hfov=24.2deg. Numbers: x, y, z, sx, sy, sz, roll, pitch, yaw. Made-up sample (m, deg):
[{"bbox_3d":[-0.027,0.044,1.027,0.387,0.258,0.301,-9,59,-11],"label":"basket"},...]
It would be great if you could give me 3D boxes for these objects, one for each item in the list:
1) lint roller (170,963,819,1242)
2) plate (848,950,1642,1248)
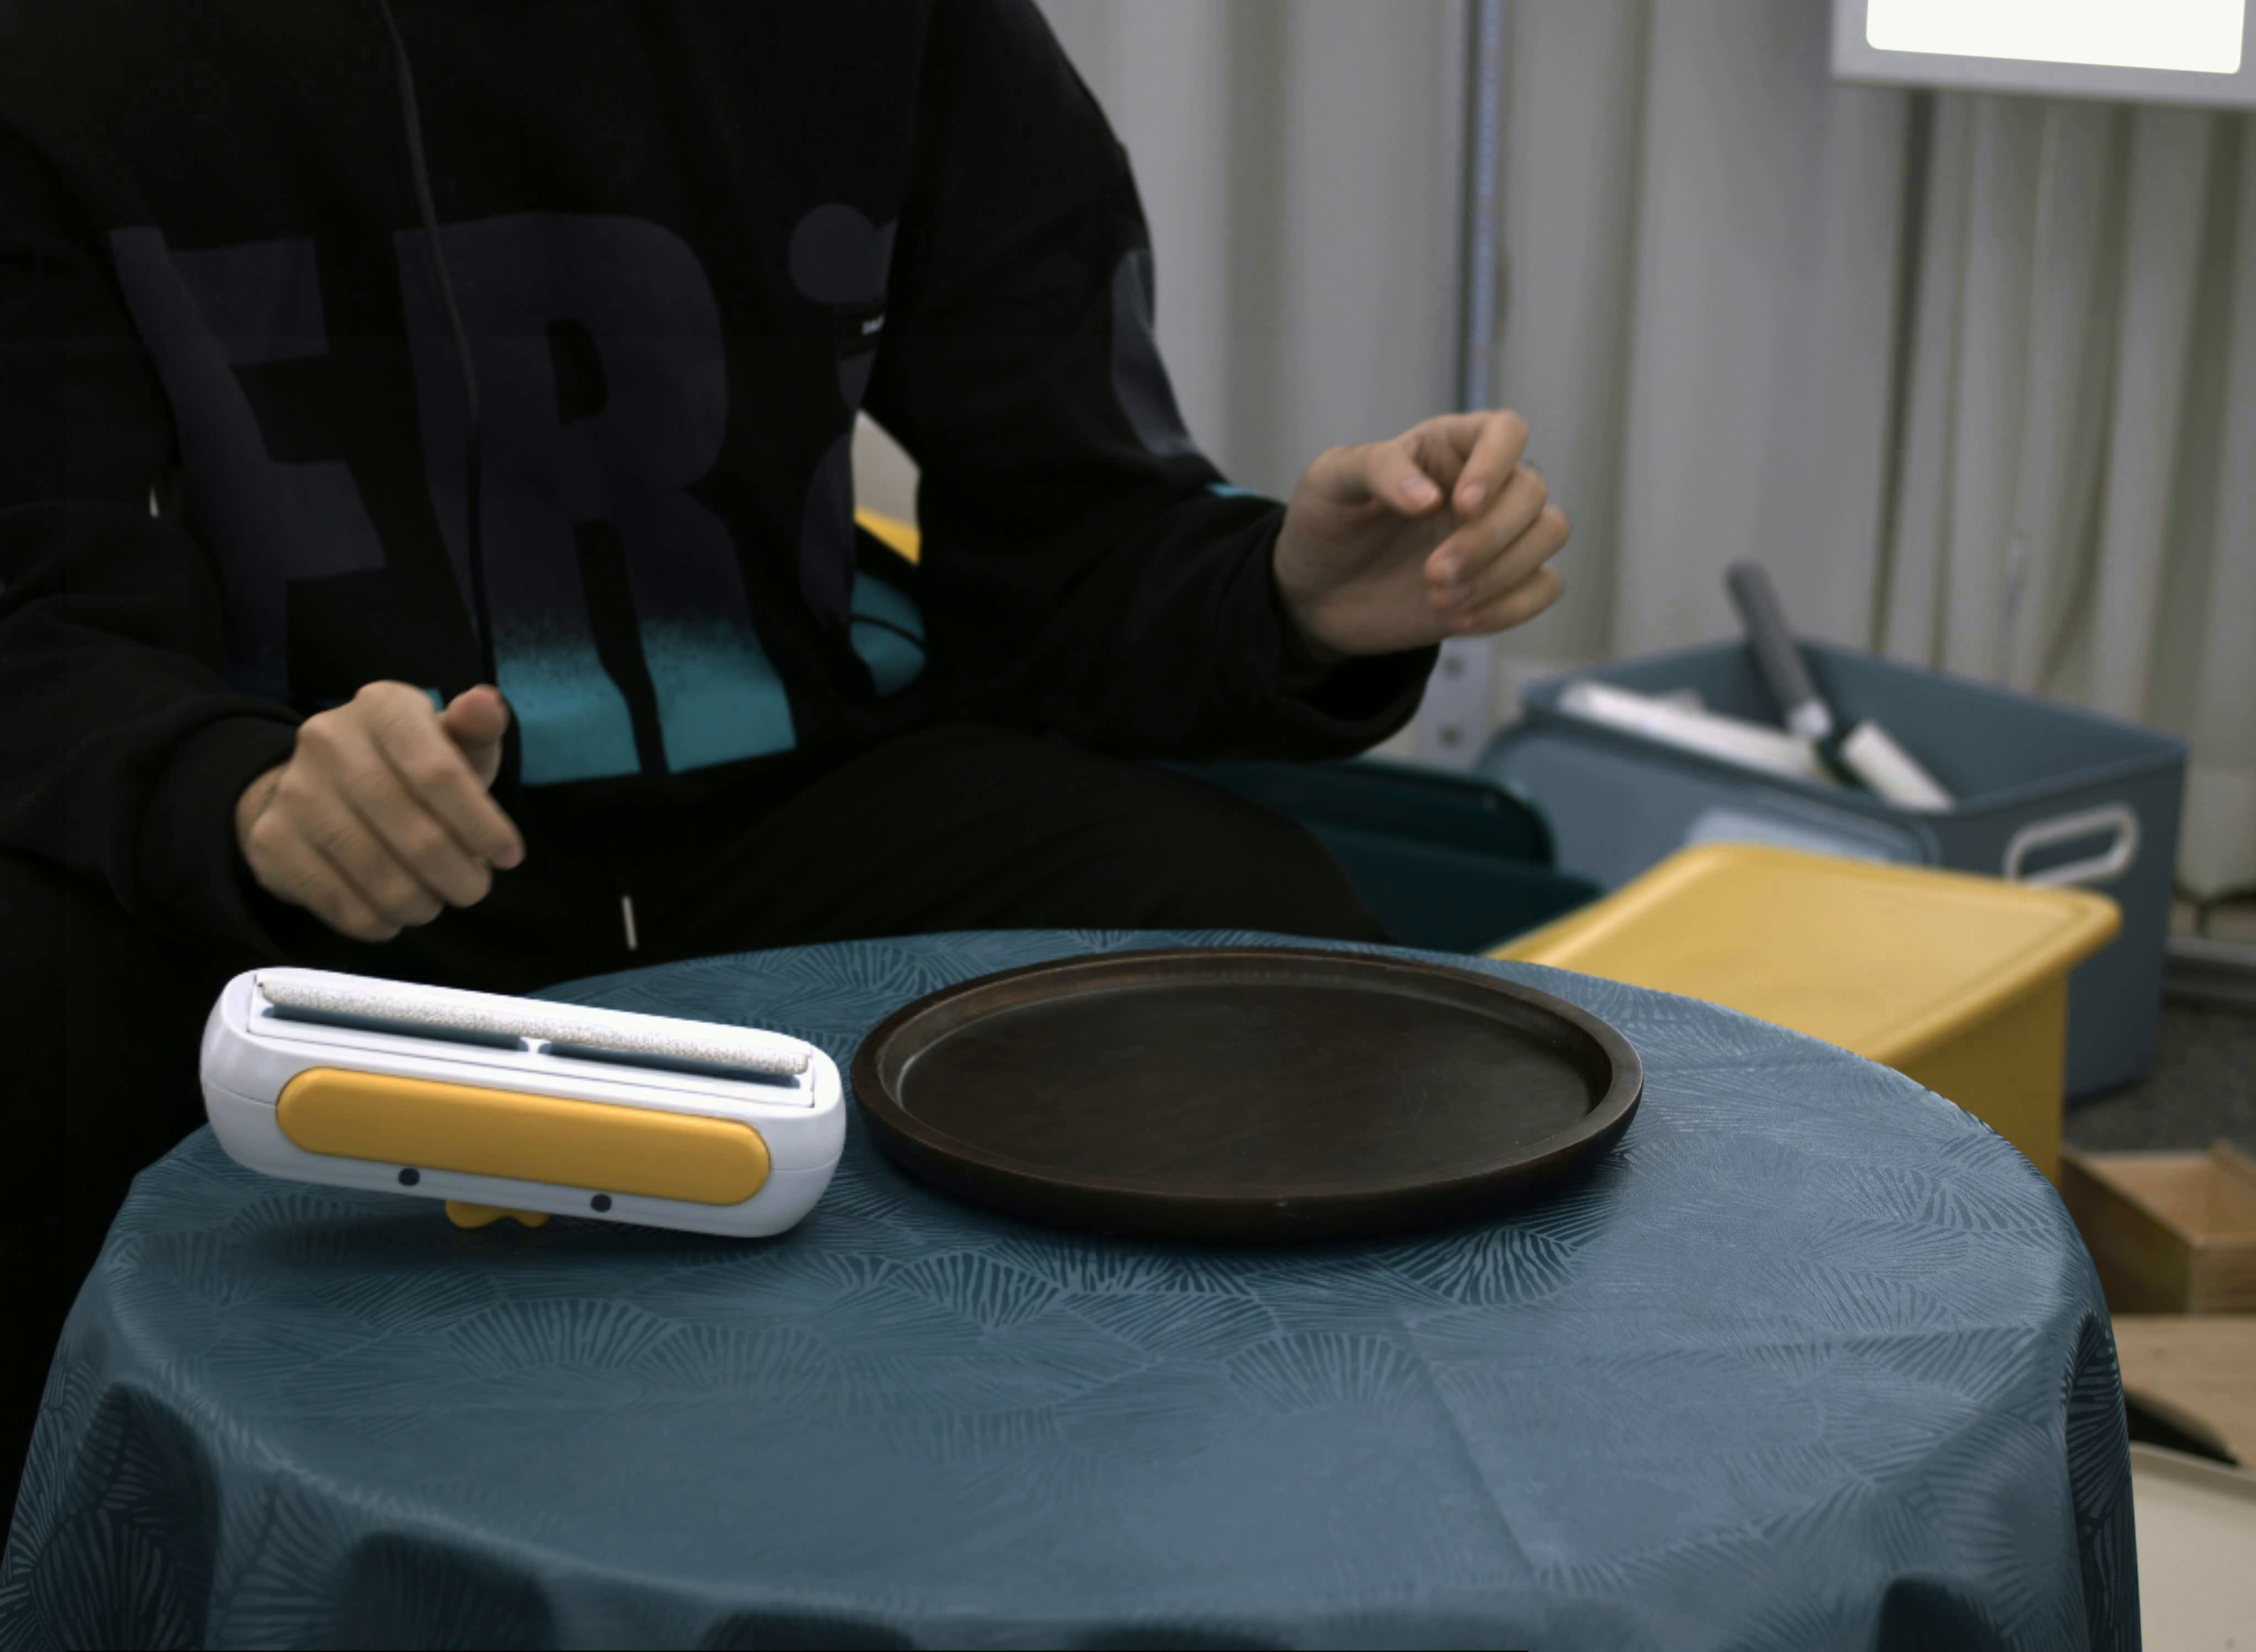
[{"bbox_3d":[-0.191,0.074,1.625,0.192,0.075,0.191,5,14,-5],"label":"lint roller"},{"bbox_3d":[0.037,0.085,1.677,0.254,0.029,0.253,1,14,0],"label":"plate"}]
